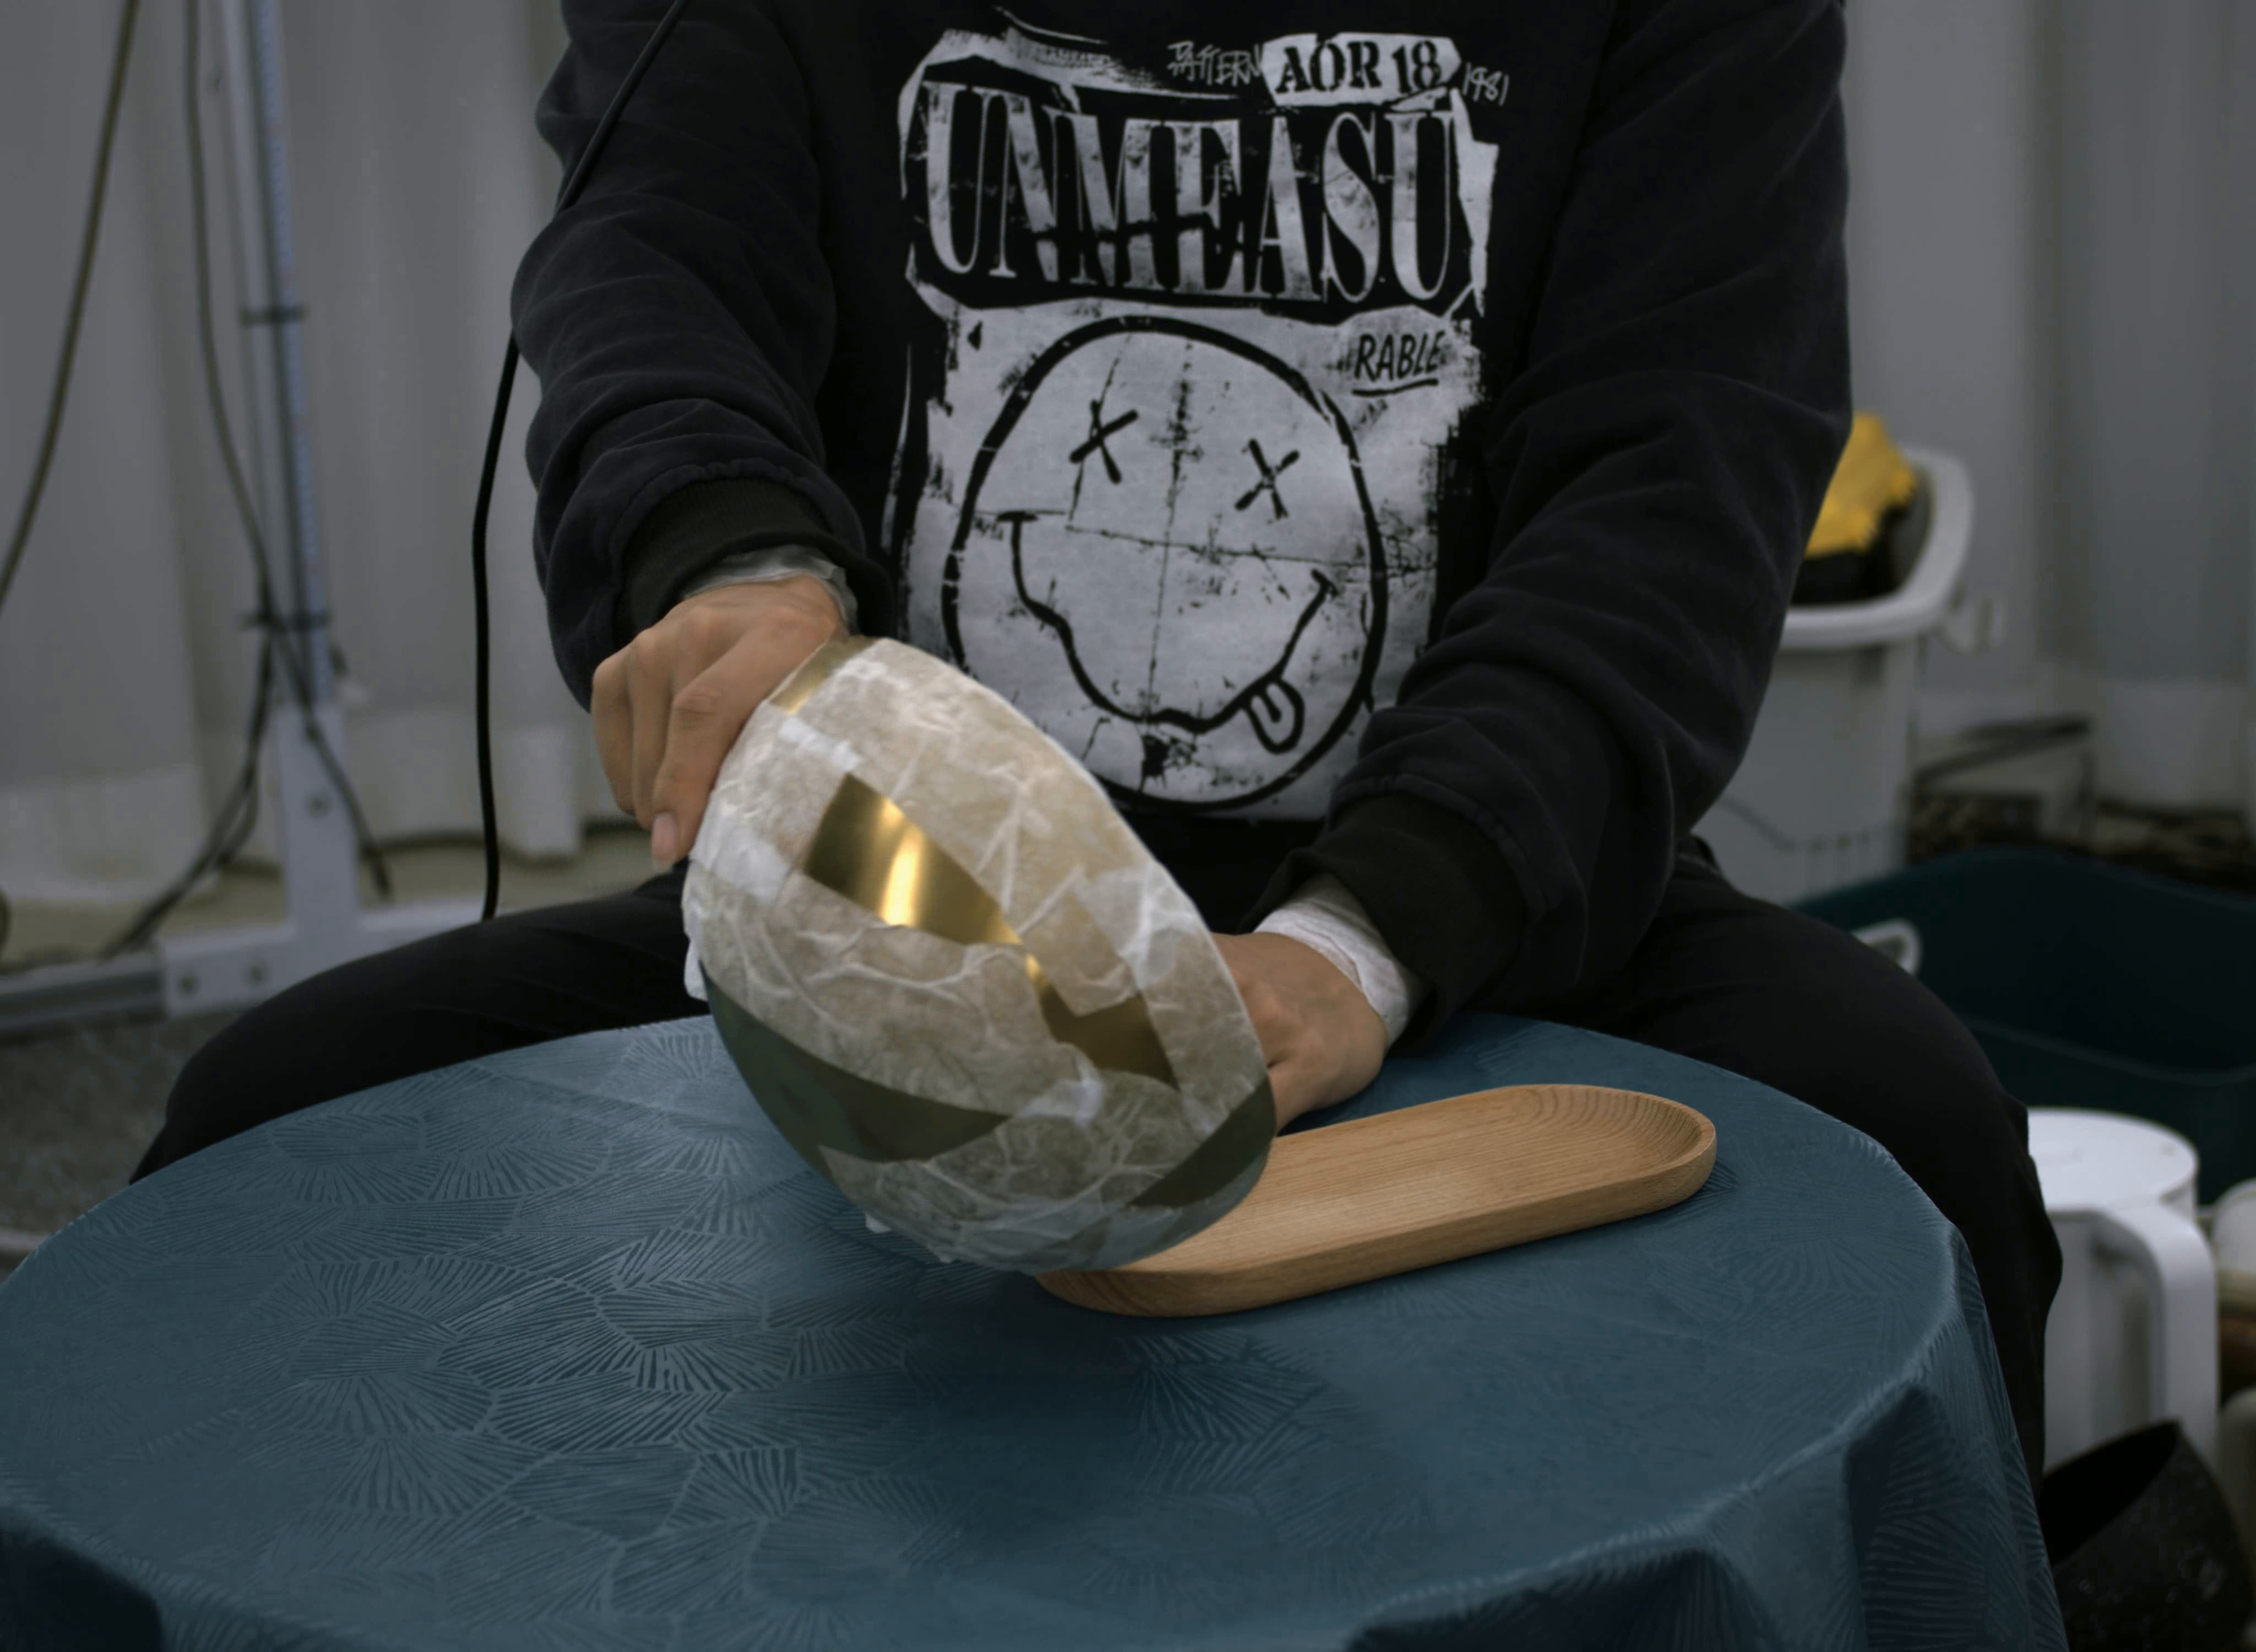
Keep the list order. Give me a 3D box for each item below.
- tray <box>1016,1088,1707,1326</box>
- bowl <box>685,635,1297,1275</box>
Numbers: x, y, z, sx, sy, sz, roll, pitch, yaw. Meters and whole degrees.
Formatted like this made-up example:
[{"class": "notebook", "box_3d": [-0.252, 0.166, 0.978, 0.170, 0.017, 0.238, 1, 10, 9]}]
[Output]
[{"class": "tray", "box_3d": [0.073, 0.116, 1.668, 0.230, 0.020, 0.102, -13, 16, -28]}, {"class": "bowl", "box_3d": [-0.058, 0.056, 1.550, 0.095, 0.212, 0.216, -39, 30, -22]}]
